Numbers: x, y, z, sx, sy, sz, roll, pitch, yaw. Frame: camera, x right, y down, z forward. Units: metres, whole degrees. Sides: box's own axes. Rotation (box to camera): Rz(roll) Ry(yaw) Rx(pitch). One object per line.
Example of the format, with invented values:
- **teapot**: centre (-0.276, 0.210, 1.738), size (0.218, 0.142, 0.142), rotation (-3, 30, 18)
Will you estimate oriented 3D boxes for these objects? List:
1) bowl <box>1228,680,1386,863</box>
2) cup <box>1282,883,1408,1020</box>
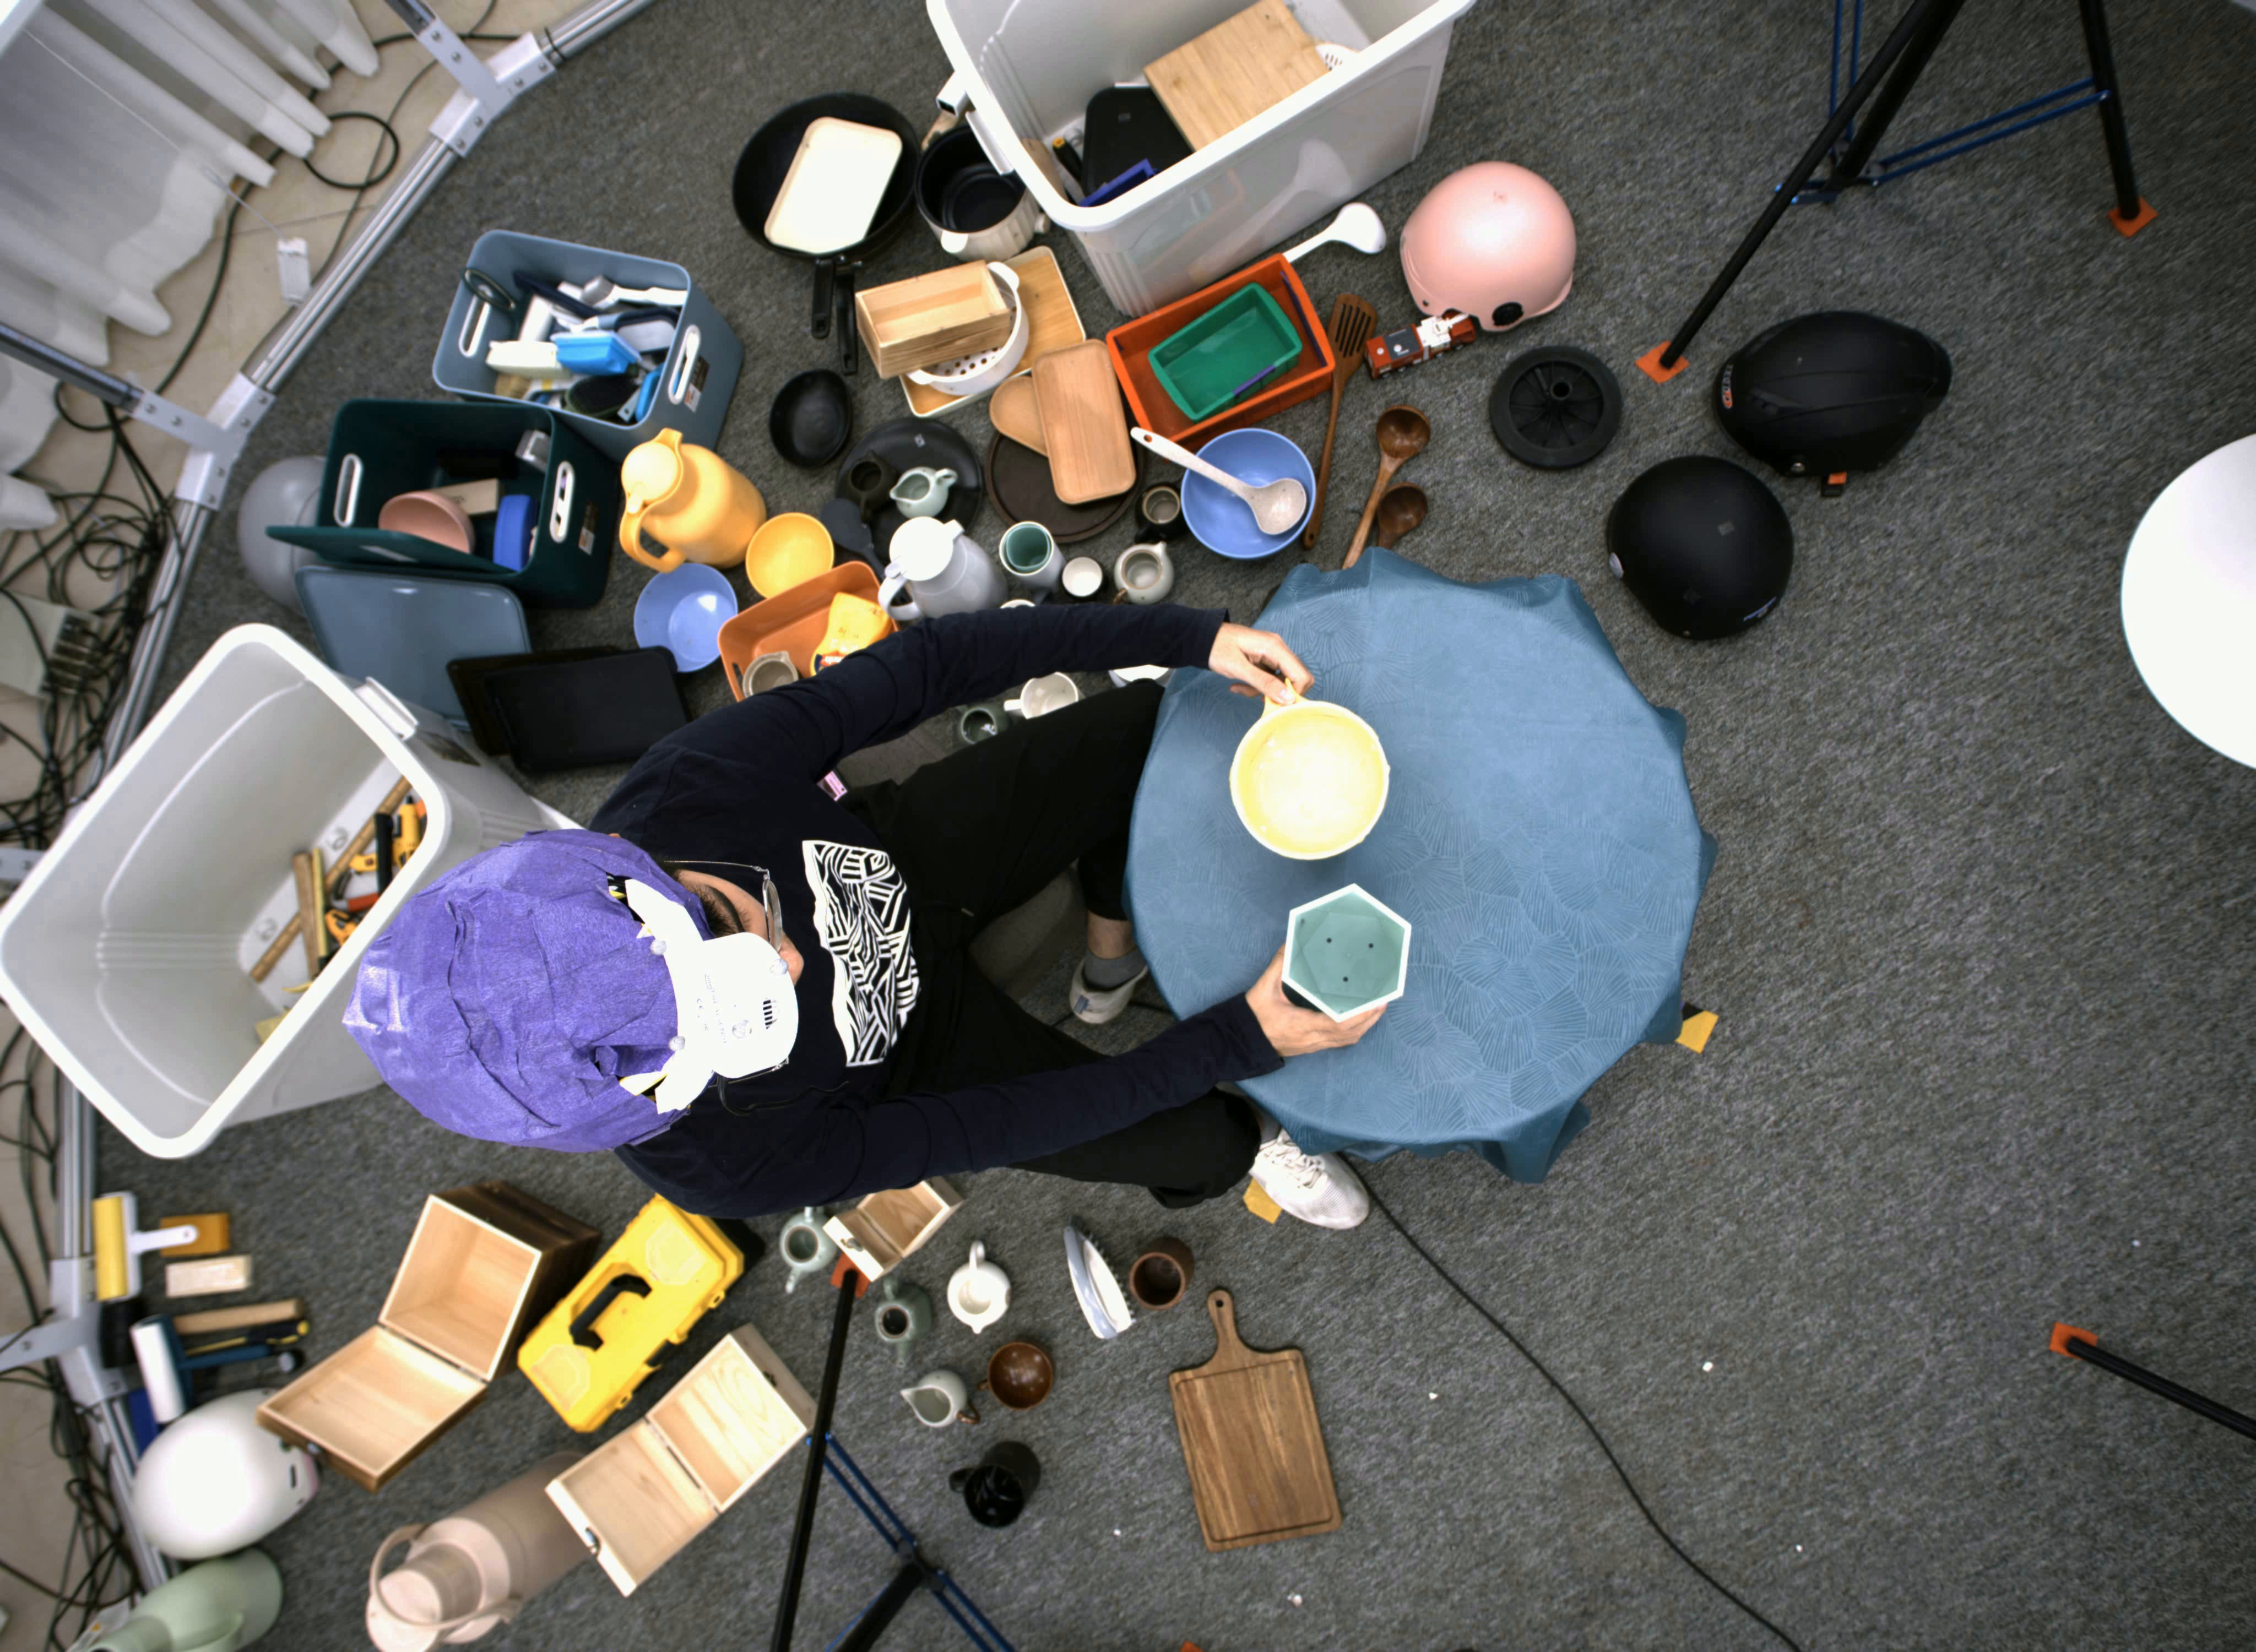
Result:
- **bowl**: centre (0.177, -0.055, 1.359), size (0.155, 0.074, 0.178), rotation (-22, 86, 19)
- **cup**: centre (0.221, 0.127, 1.382), size (0.115, 0.163, 0.130), rotation (4, 84, 12)
